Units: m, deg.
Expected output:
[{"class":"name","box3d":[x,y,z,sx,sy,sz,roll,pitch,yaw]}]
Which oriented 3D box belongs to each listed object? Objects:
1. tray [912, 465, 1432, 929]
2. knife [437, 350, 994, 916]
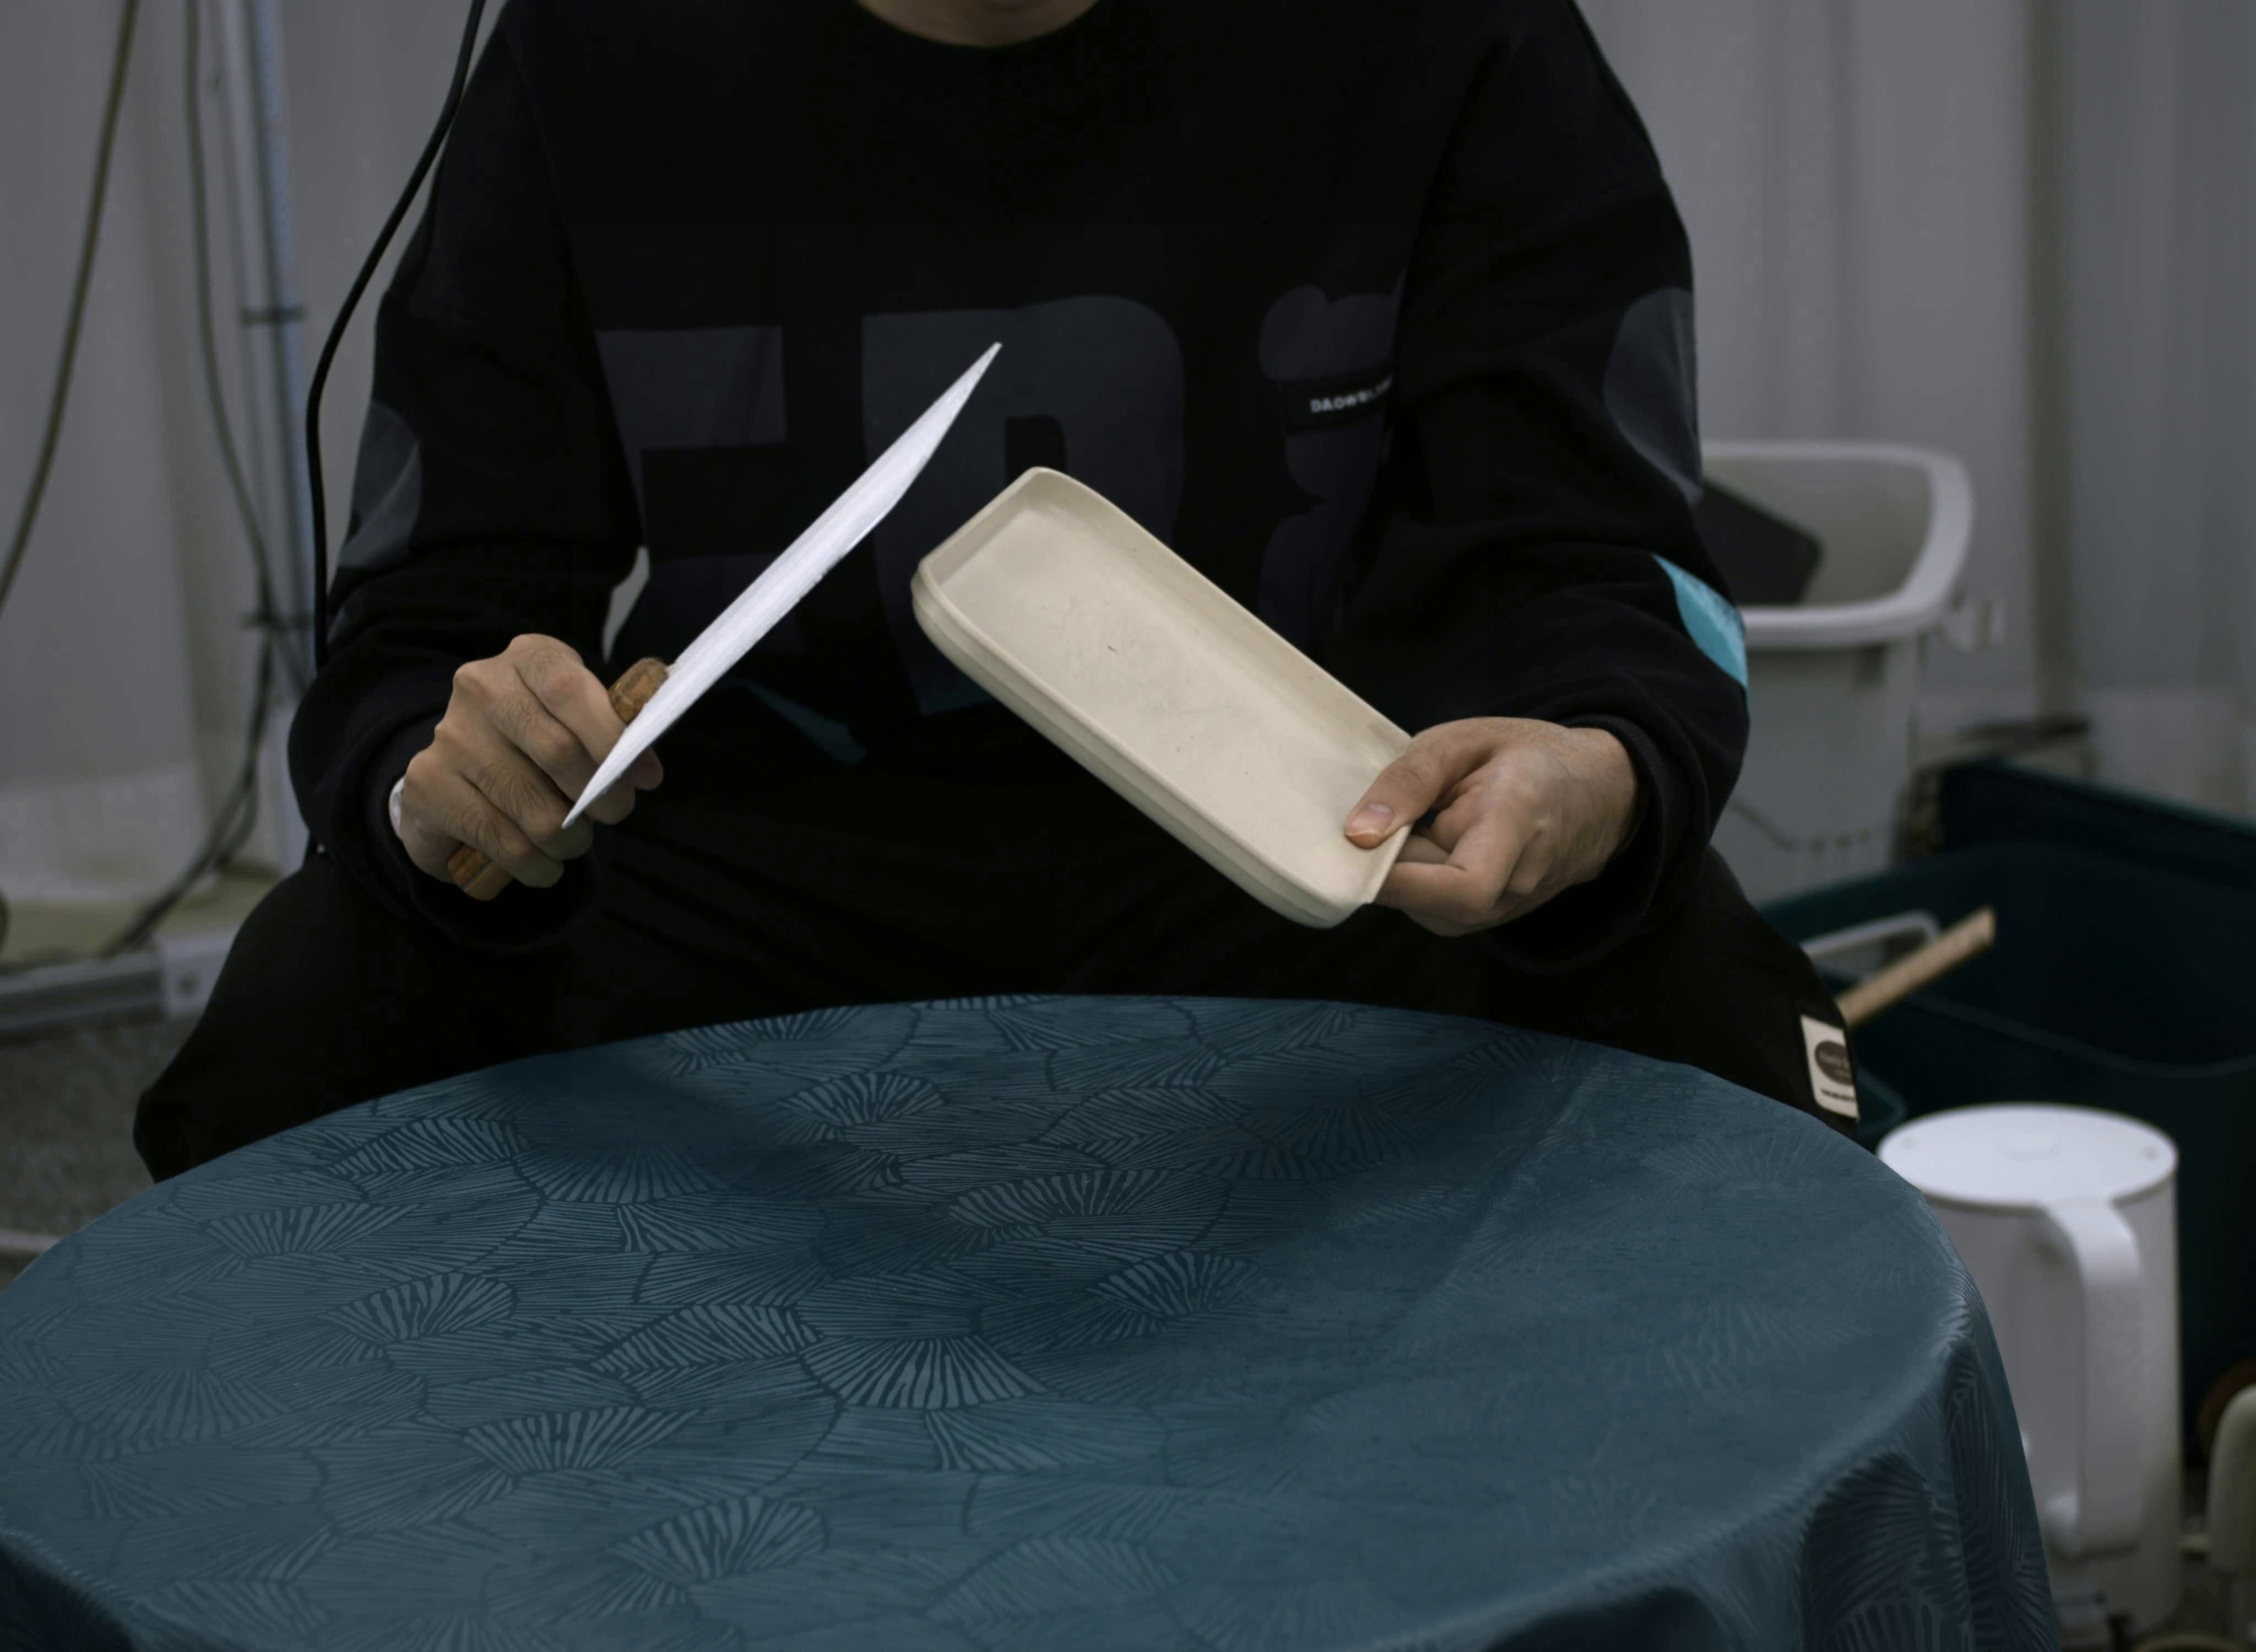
[{"class":"tray","box3d":[0.015,-0.041,1.714,0.171,0.017,0.240,37,16,0]},{"class":"knife","box3d":[-0.140,-0.044,1.721,0.304,0.021,0.094,-41,14,39]}]
